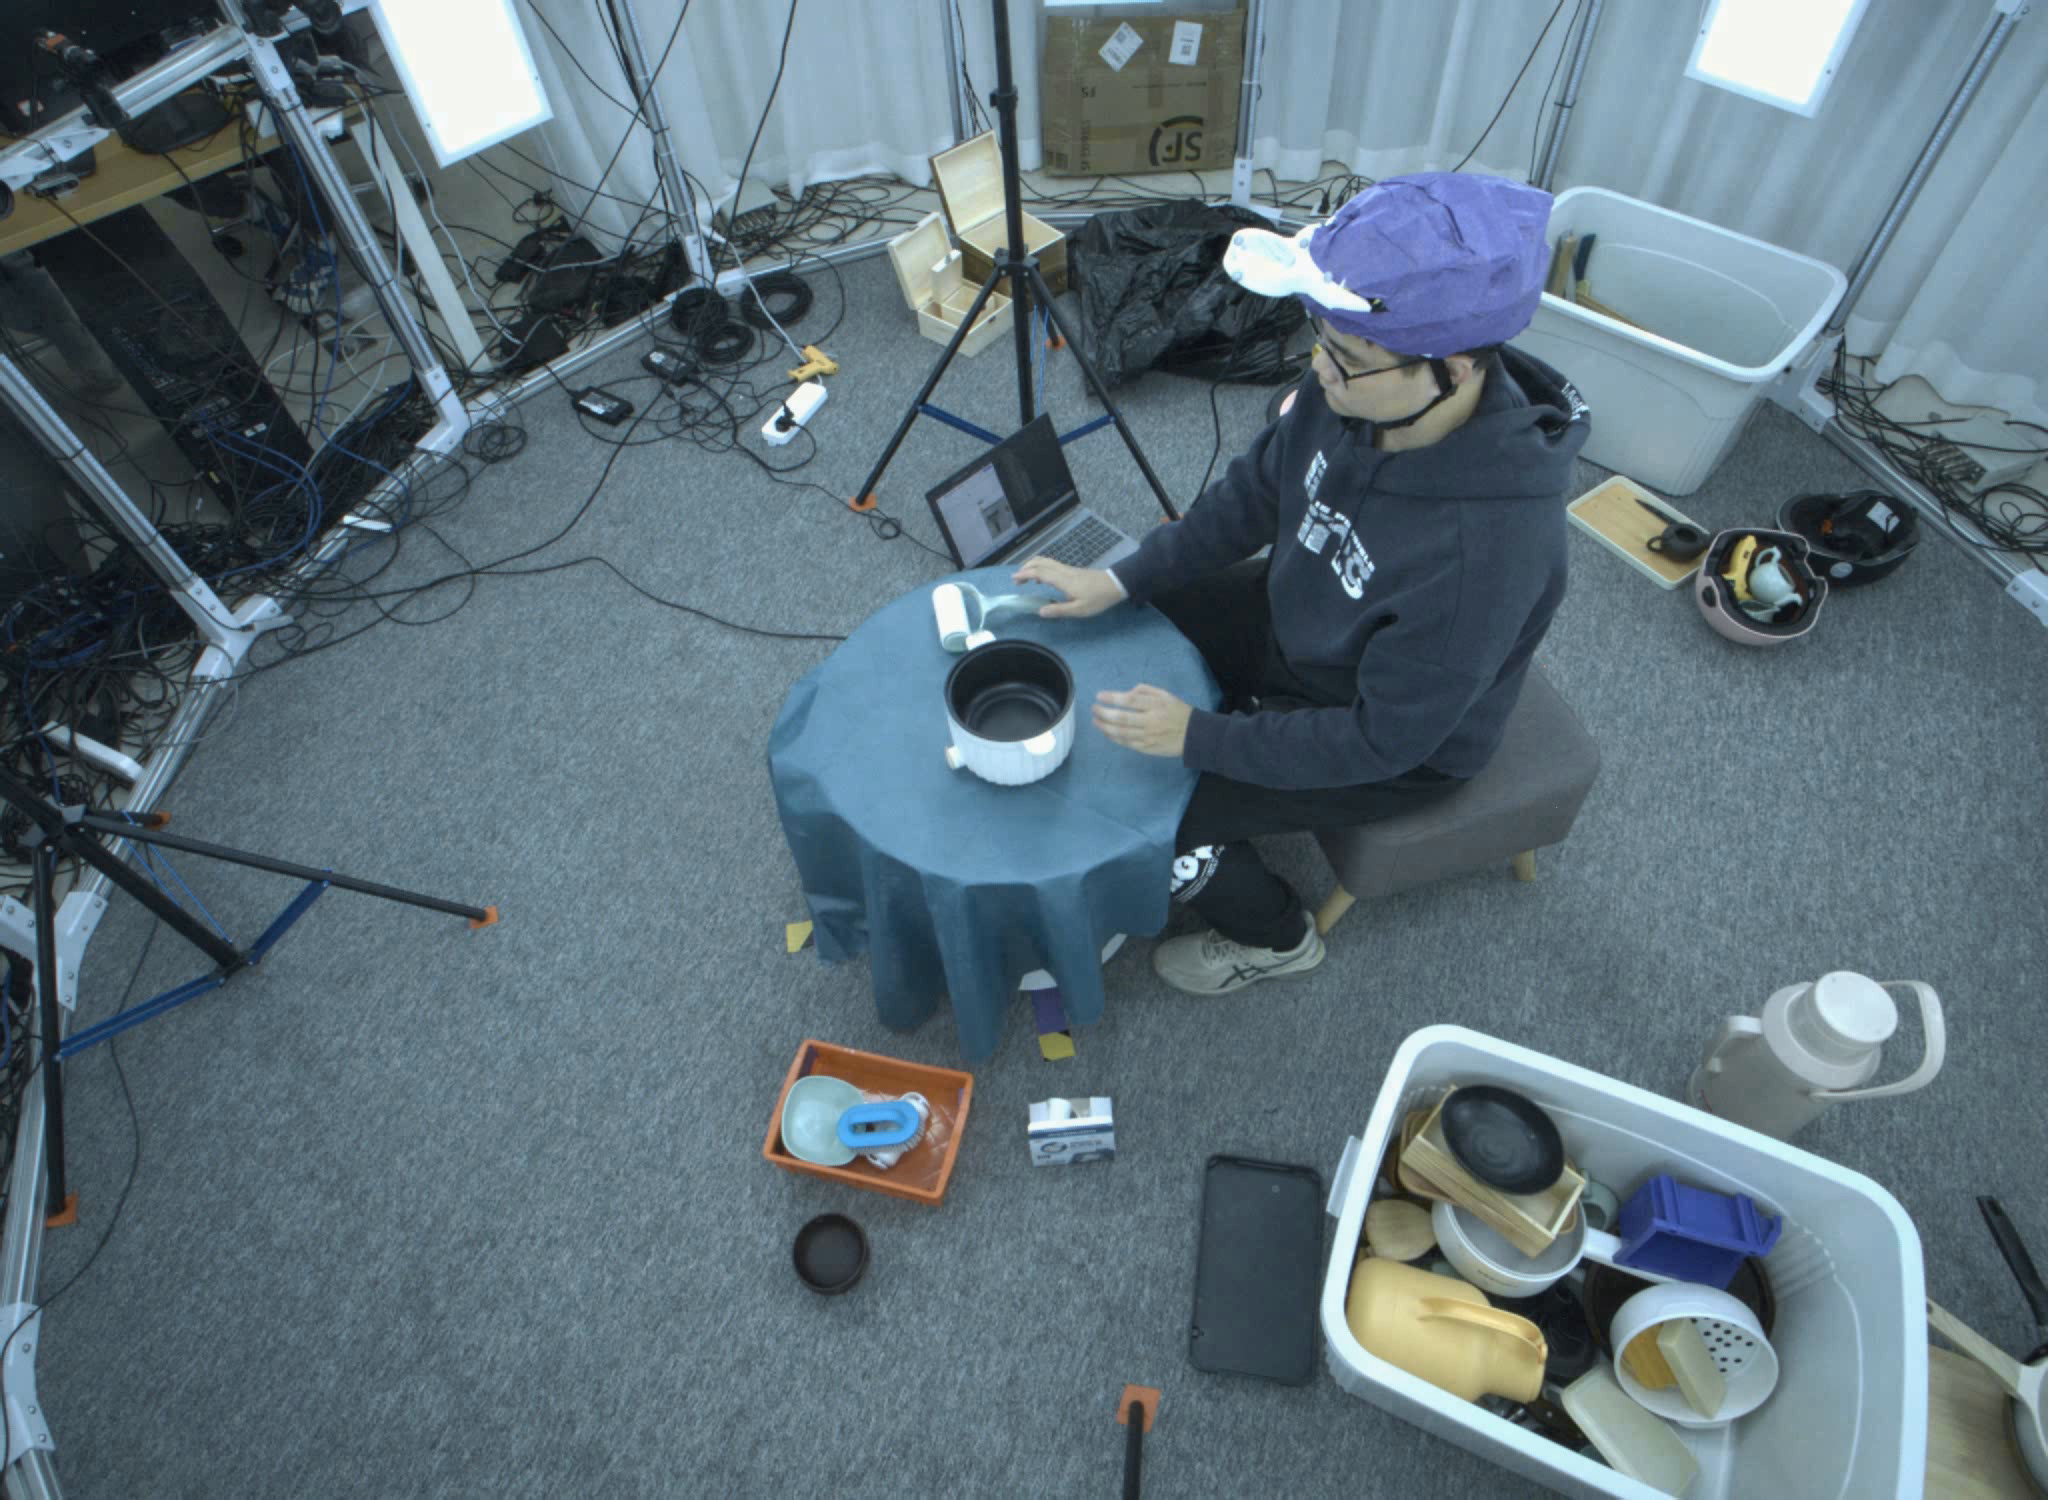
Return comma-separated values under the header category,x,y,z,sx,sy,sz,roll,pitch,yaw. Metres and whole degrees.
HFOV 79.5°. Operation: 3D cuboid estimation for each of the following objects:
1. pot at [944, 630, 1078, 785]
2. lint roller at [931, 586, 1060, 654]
category,x,y,z,sx,sy,sz,roll,pitch,yaw
pot,-0.021,-0.044,1.734,0.192,0.144,0.236,-21,55,-16
lint roller,-0.041,-0.213,1.913,0.198,0.049,0.115,-10,52,-8
